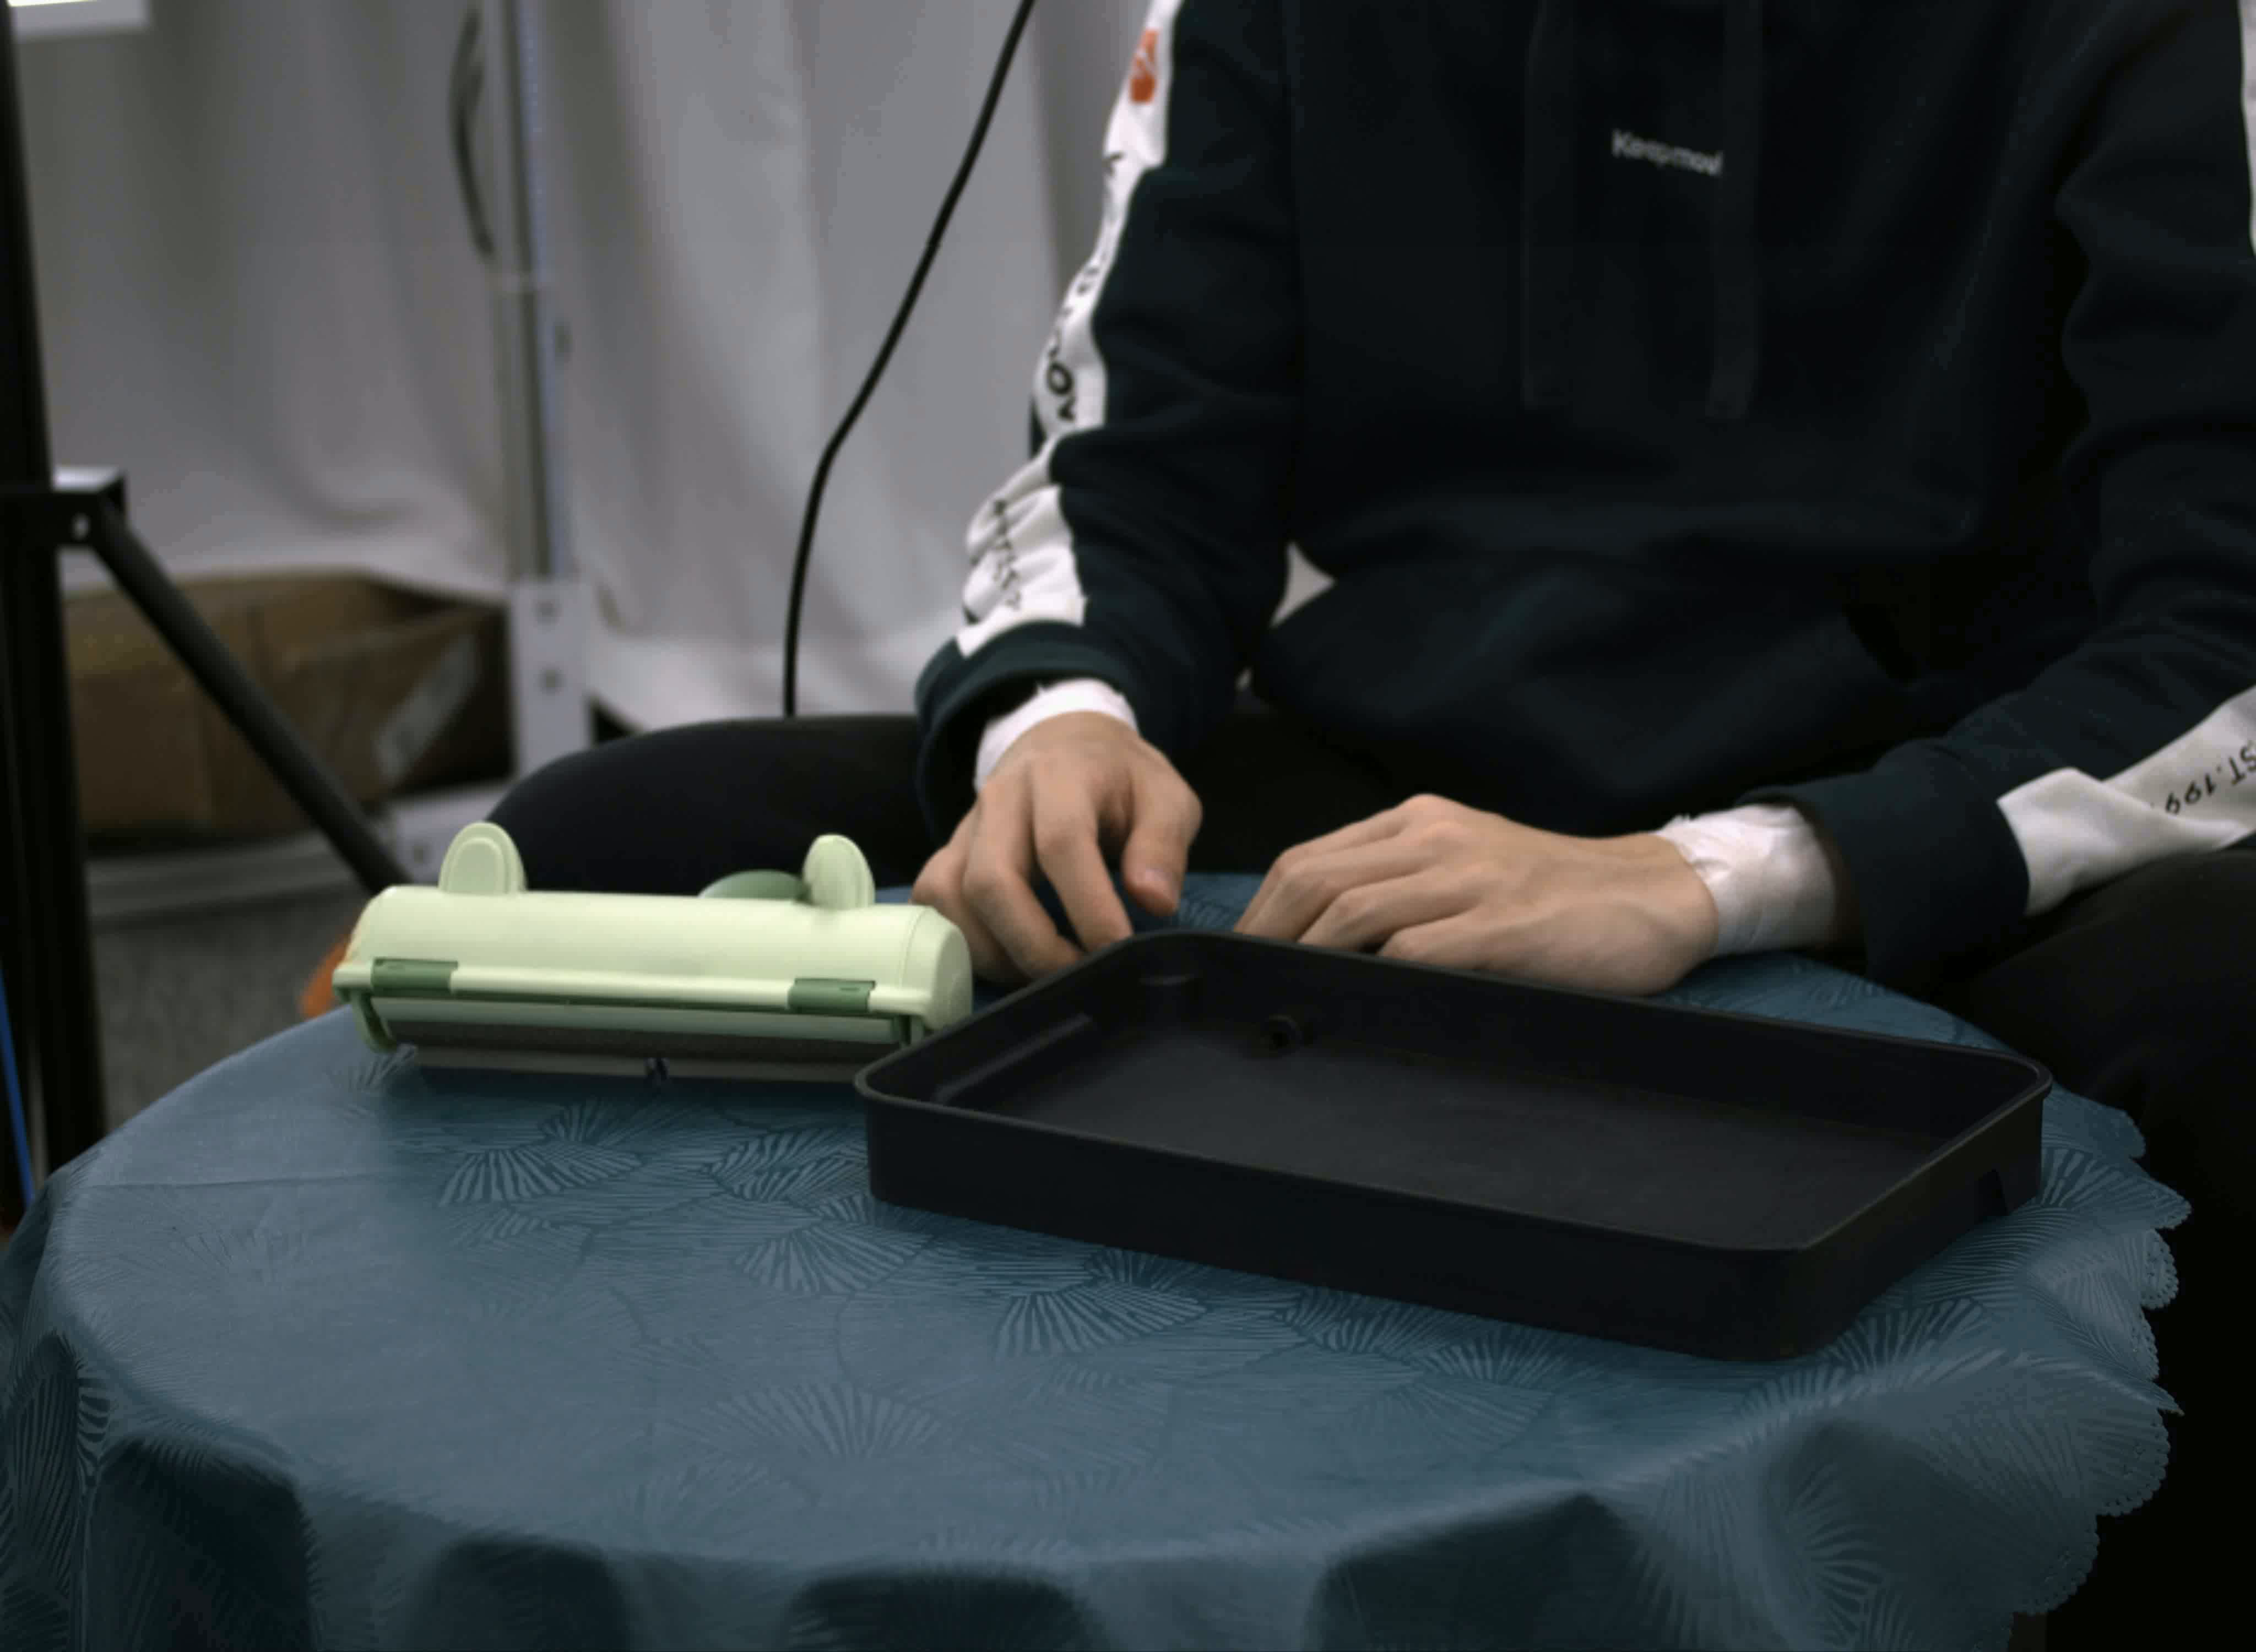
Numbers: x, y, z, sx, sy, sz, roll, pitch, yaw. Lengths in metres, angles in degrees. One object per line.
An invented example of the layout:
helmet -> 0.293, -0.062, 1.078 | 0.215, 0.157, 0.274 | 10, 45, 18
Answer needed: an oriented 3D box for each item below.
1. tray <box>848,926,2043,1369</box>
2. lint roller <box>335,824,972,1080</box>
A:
tray -> 0.091, 0.089, 1.544 | 0.324, 0.037, 0.180 | 8, 19, 34
lint roller -> -0.136, 0.025, 1.730 | 0.200, 0.082, 0.182 | 1, 19, 15
